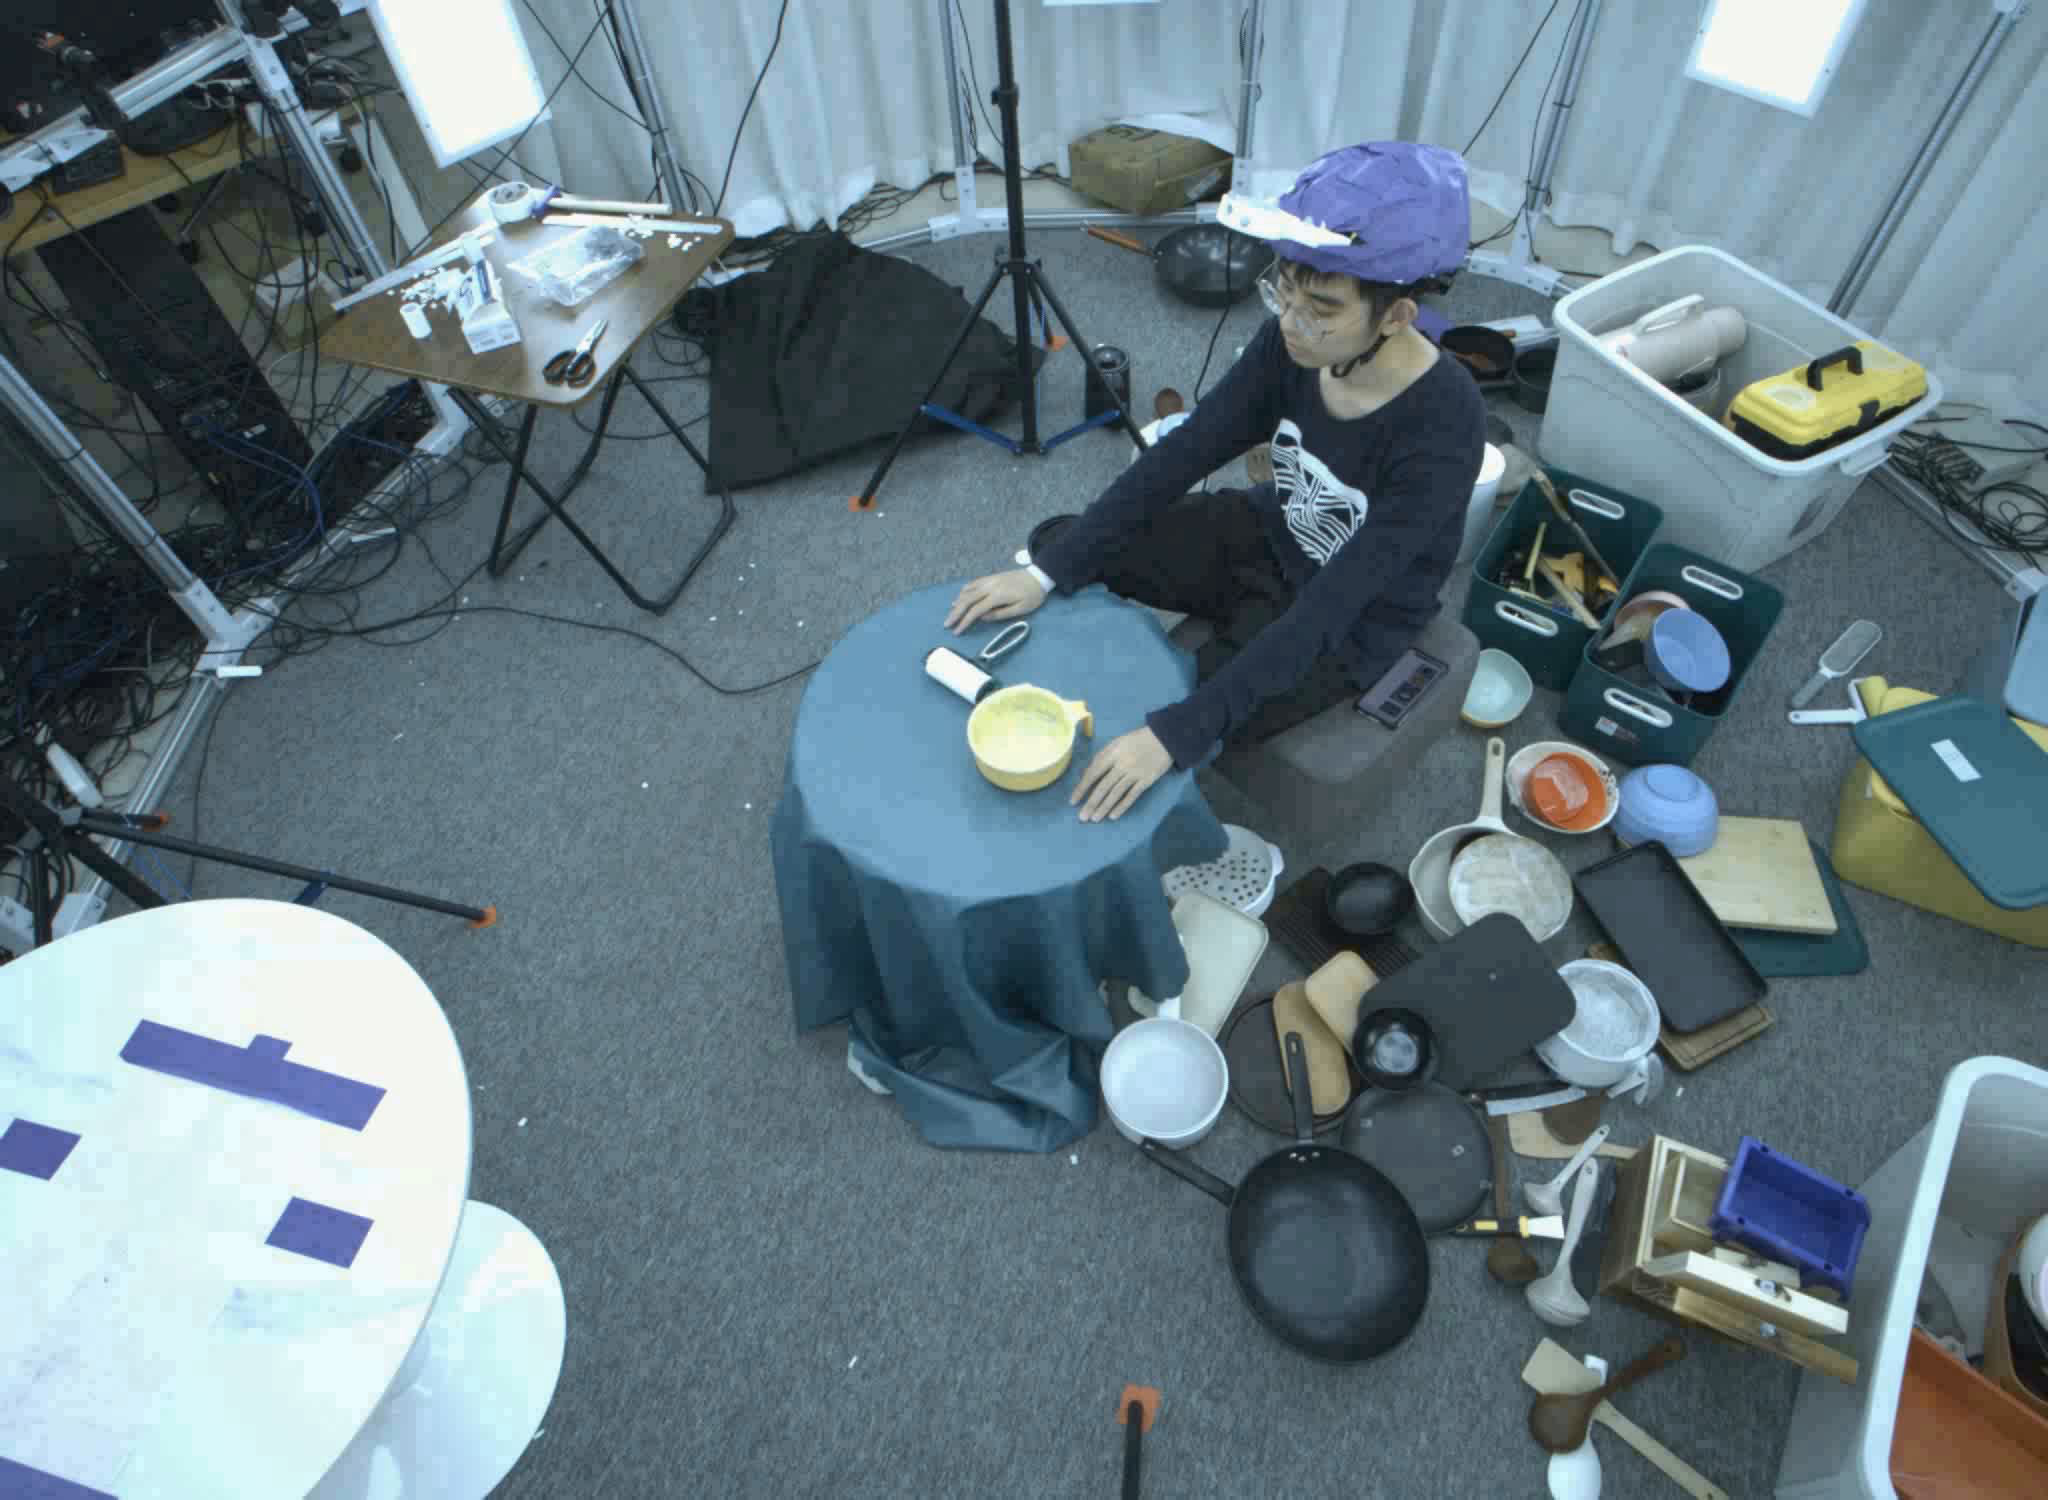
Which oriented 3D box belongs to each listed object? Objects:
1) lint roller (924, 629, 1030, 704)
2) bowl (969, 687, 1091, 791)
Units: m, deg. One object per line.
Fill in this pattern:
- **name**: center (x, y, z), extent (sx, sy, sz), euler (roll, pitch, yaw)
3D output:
- **lint roller**: center (-0.053, -0.150, 1.881), extent (0.132, 0.049, 0.181), euler (34, 56, 23)
- **bowl**: center (0.013, -0.015, 1.766), extent (0.180, 0.075, 0.150), euler (-25, 57, -15)
